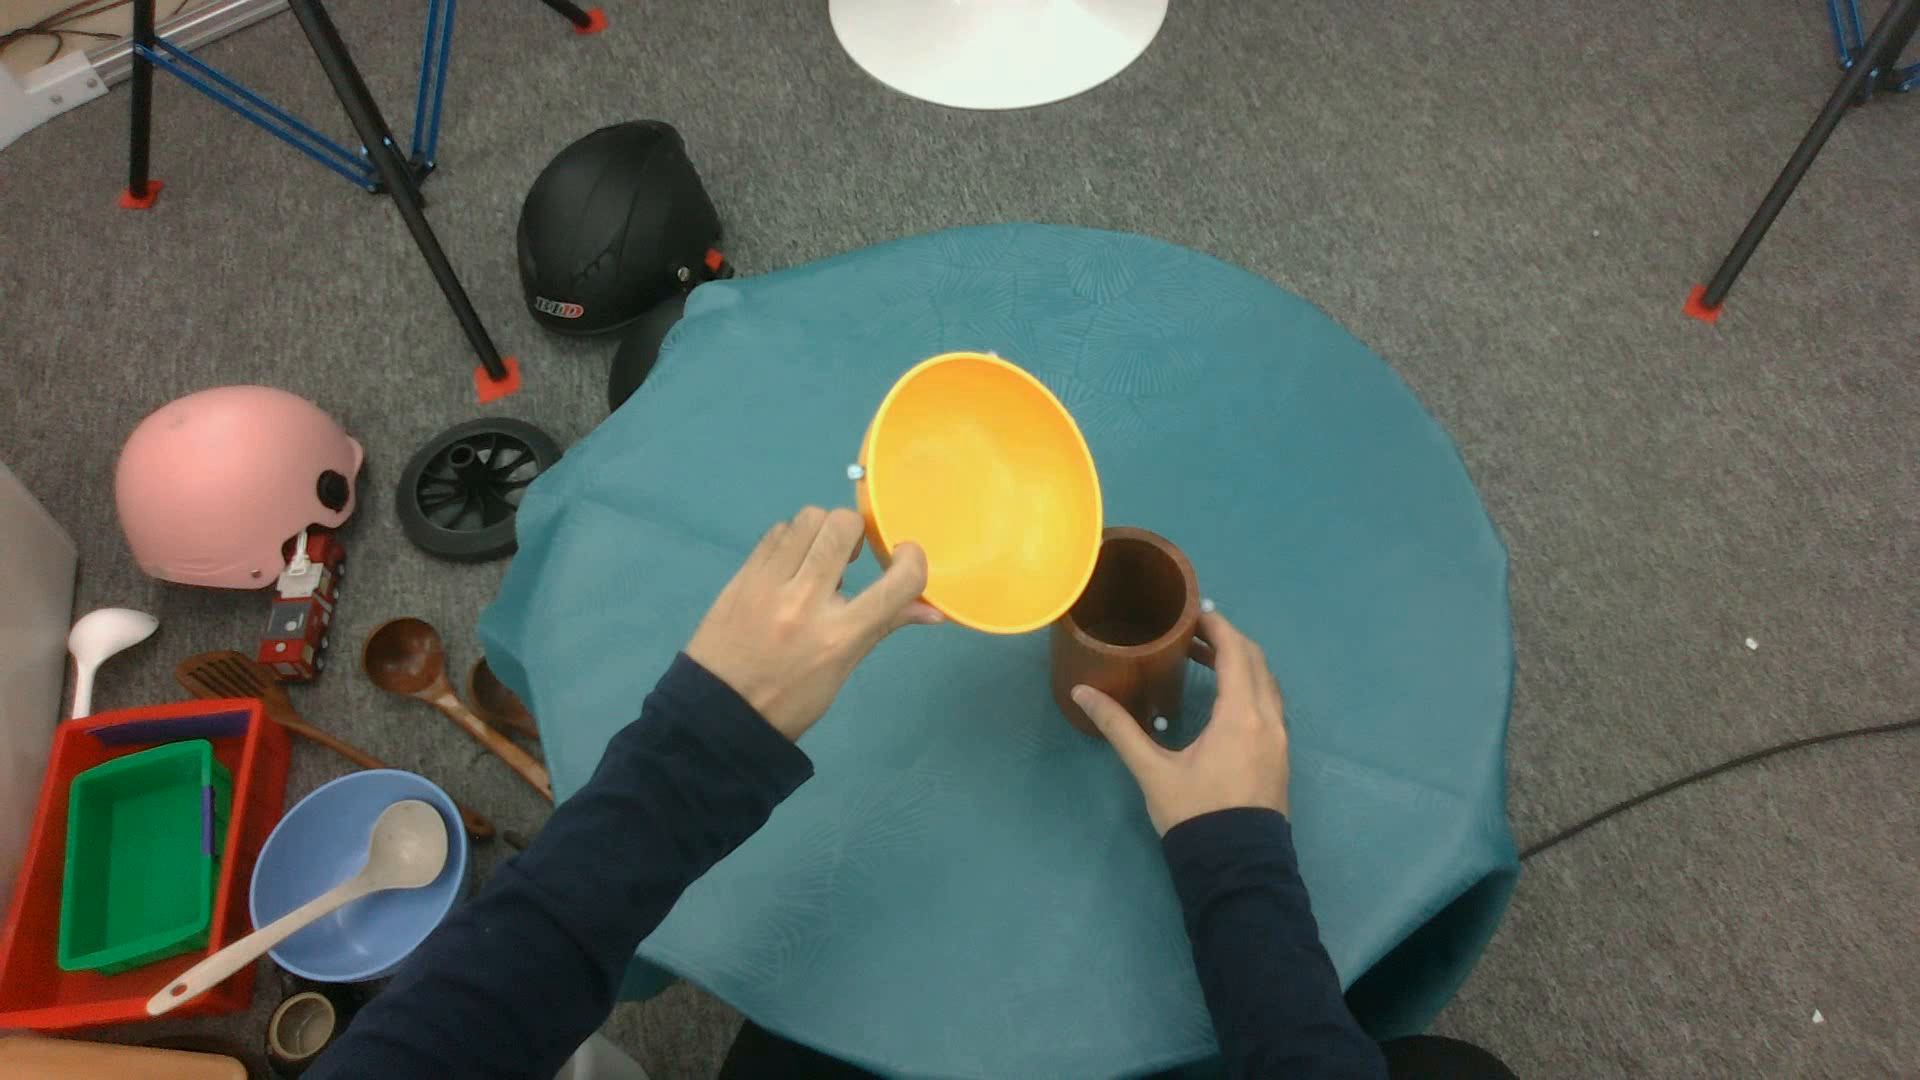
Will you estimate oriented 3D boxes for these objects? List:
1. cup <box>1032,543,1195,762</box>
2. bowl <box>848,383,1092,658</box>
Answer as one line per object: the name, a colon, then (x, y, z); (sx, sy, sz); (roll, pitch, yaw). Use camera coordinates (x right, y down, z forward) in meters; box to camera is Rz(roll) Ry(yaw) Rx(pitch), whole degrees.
cup: (0.089, 0.066, 0.777); (0.087, 0.118, 0.088); (-3, 57, 6)
bowl: (-0.005, -0.005, 0.722); (0.145, 0.060, 0.145); (10, 72, -33)
